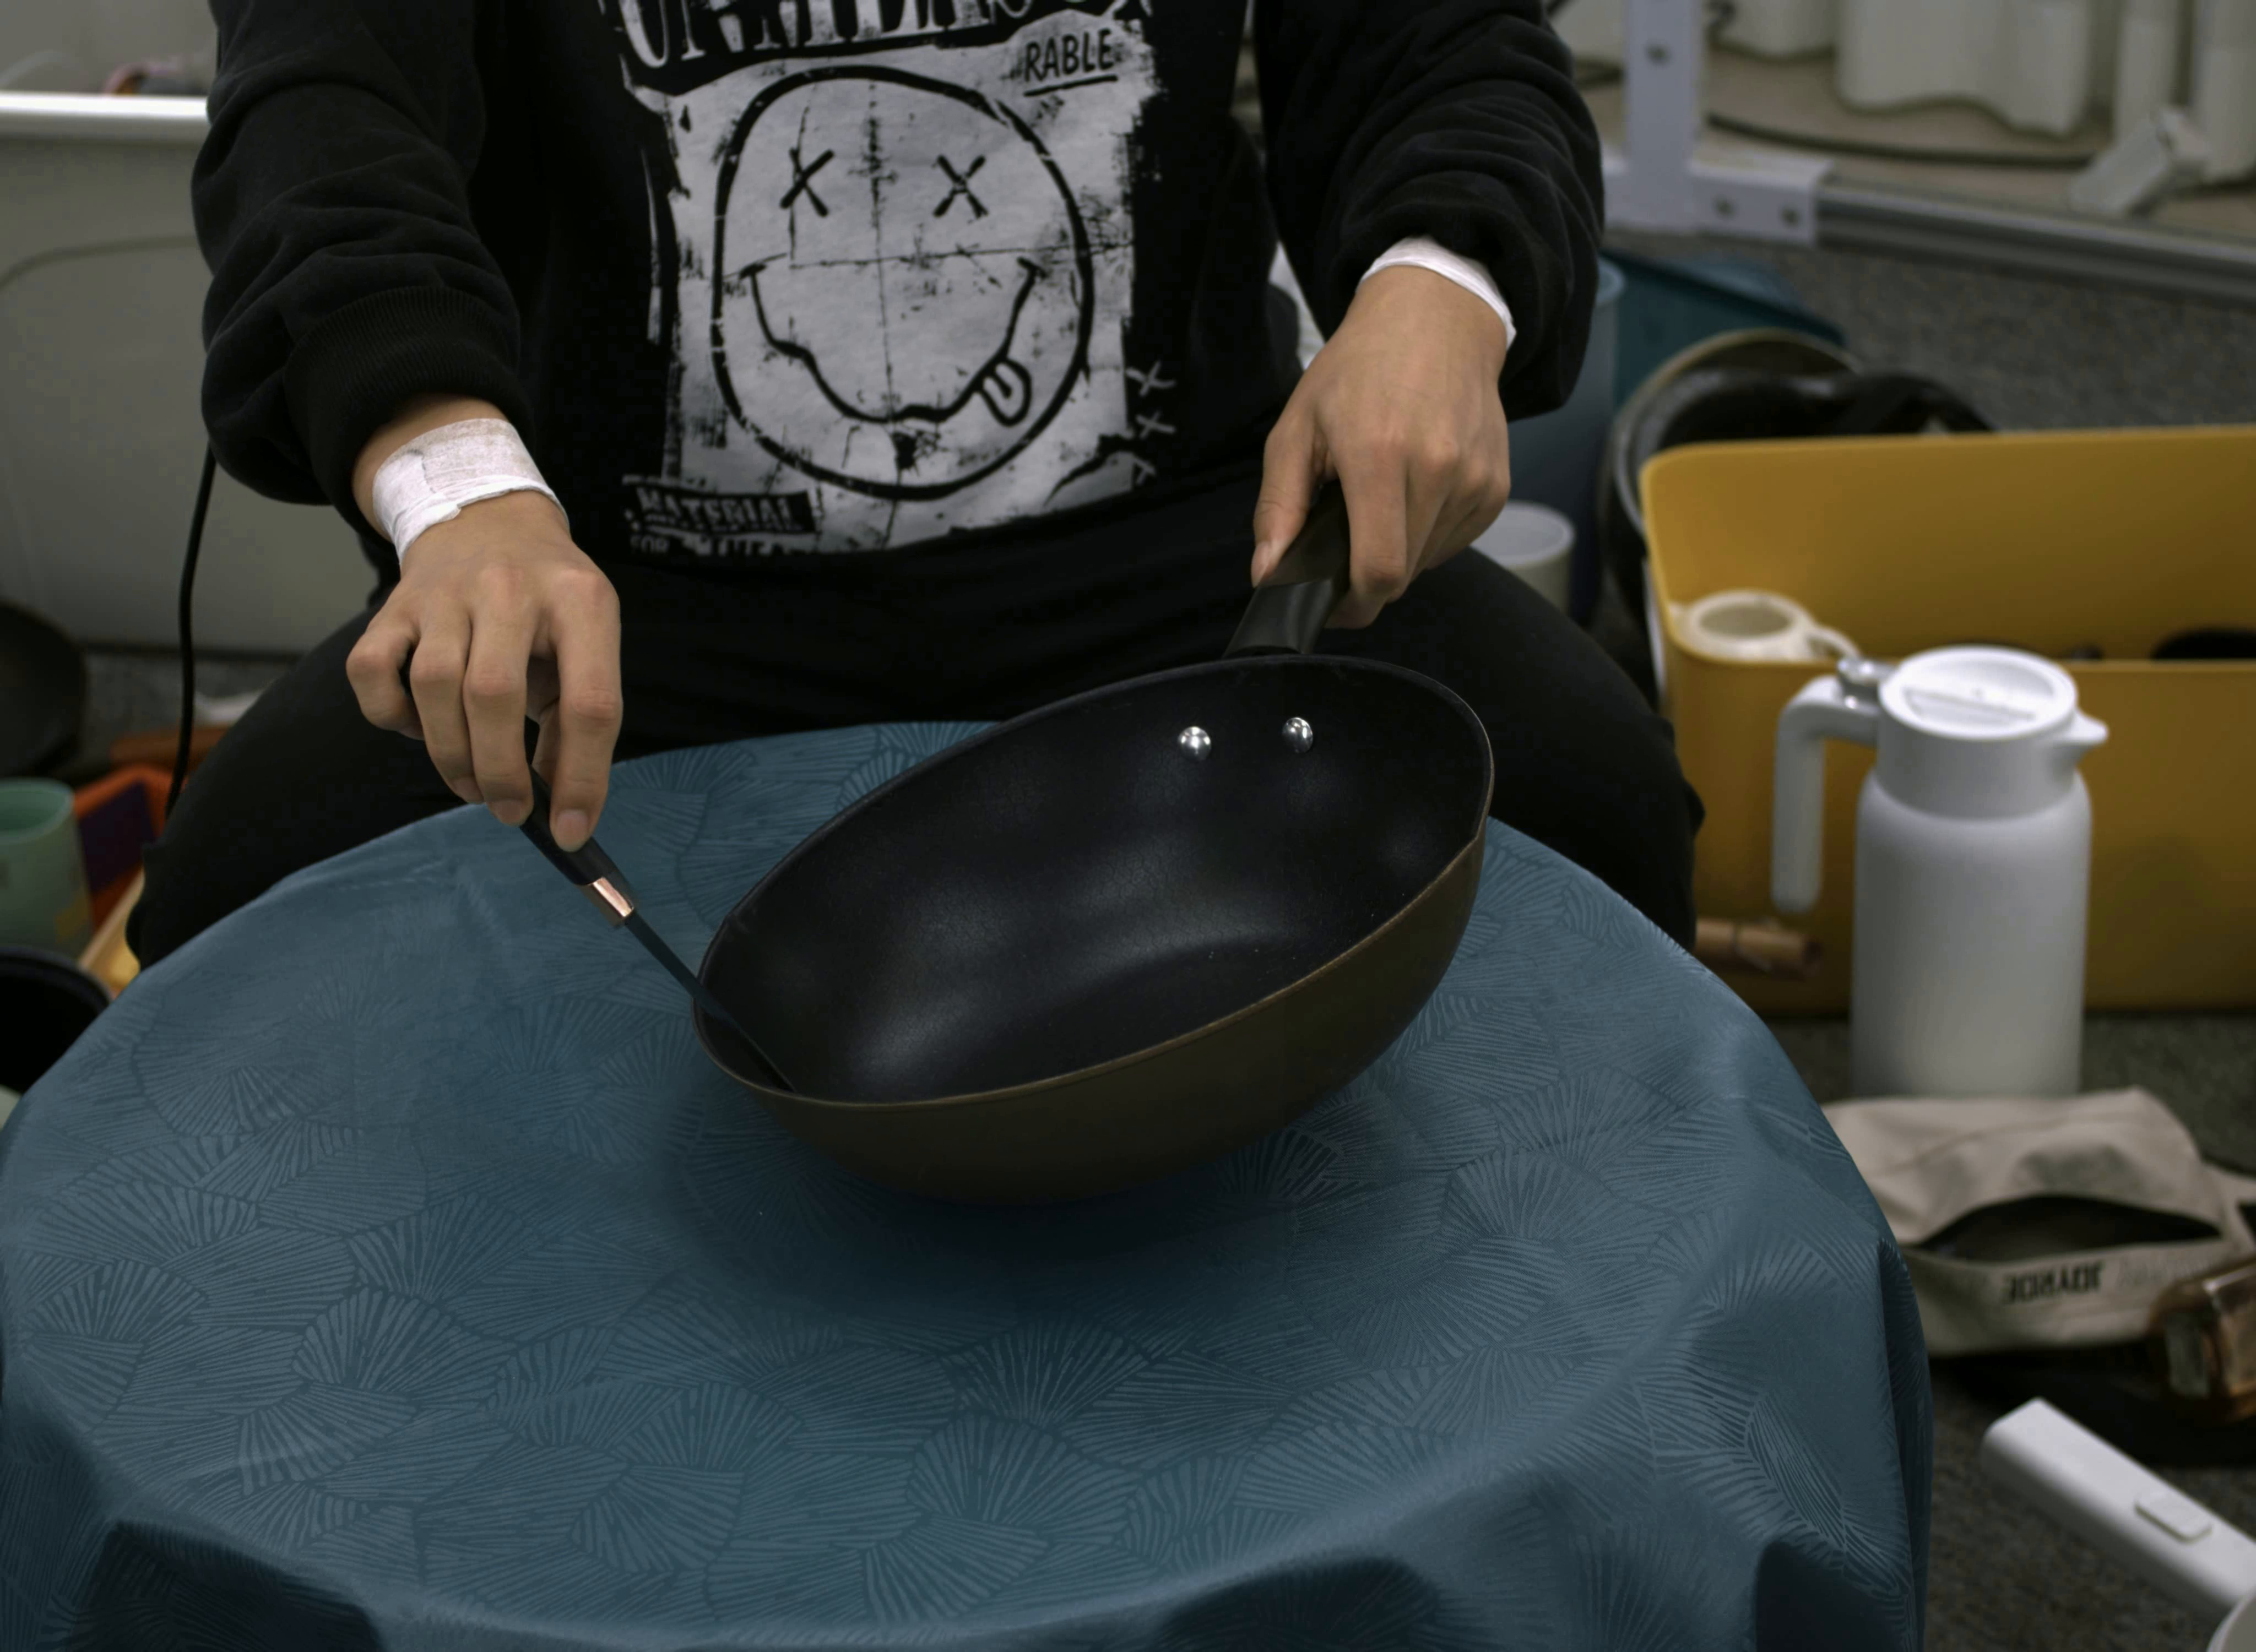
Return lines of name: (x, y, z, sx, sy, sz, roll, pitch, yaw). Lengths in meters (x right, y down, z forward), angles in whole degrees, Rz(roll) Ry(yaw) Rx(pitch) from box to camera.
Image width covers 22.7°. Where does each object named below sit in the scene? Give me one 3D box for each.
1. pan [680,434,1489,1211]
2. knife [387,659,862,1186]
pan: (0.031, 0.003, 1.946, 0.285, 0.086, 0.472, -6, 27, 29)
knife: (-0.162, 0.032, 1.826, 0.017, 0.225, 0.026, -43, 0, -30)
